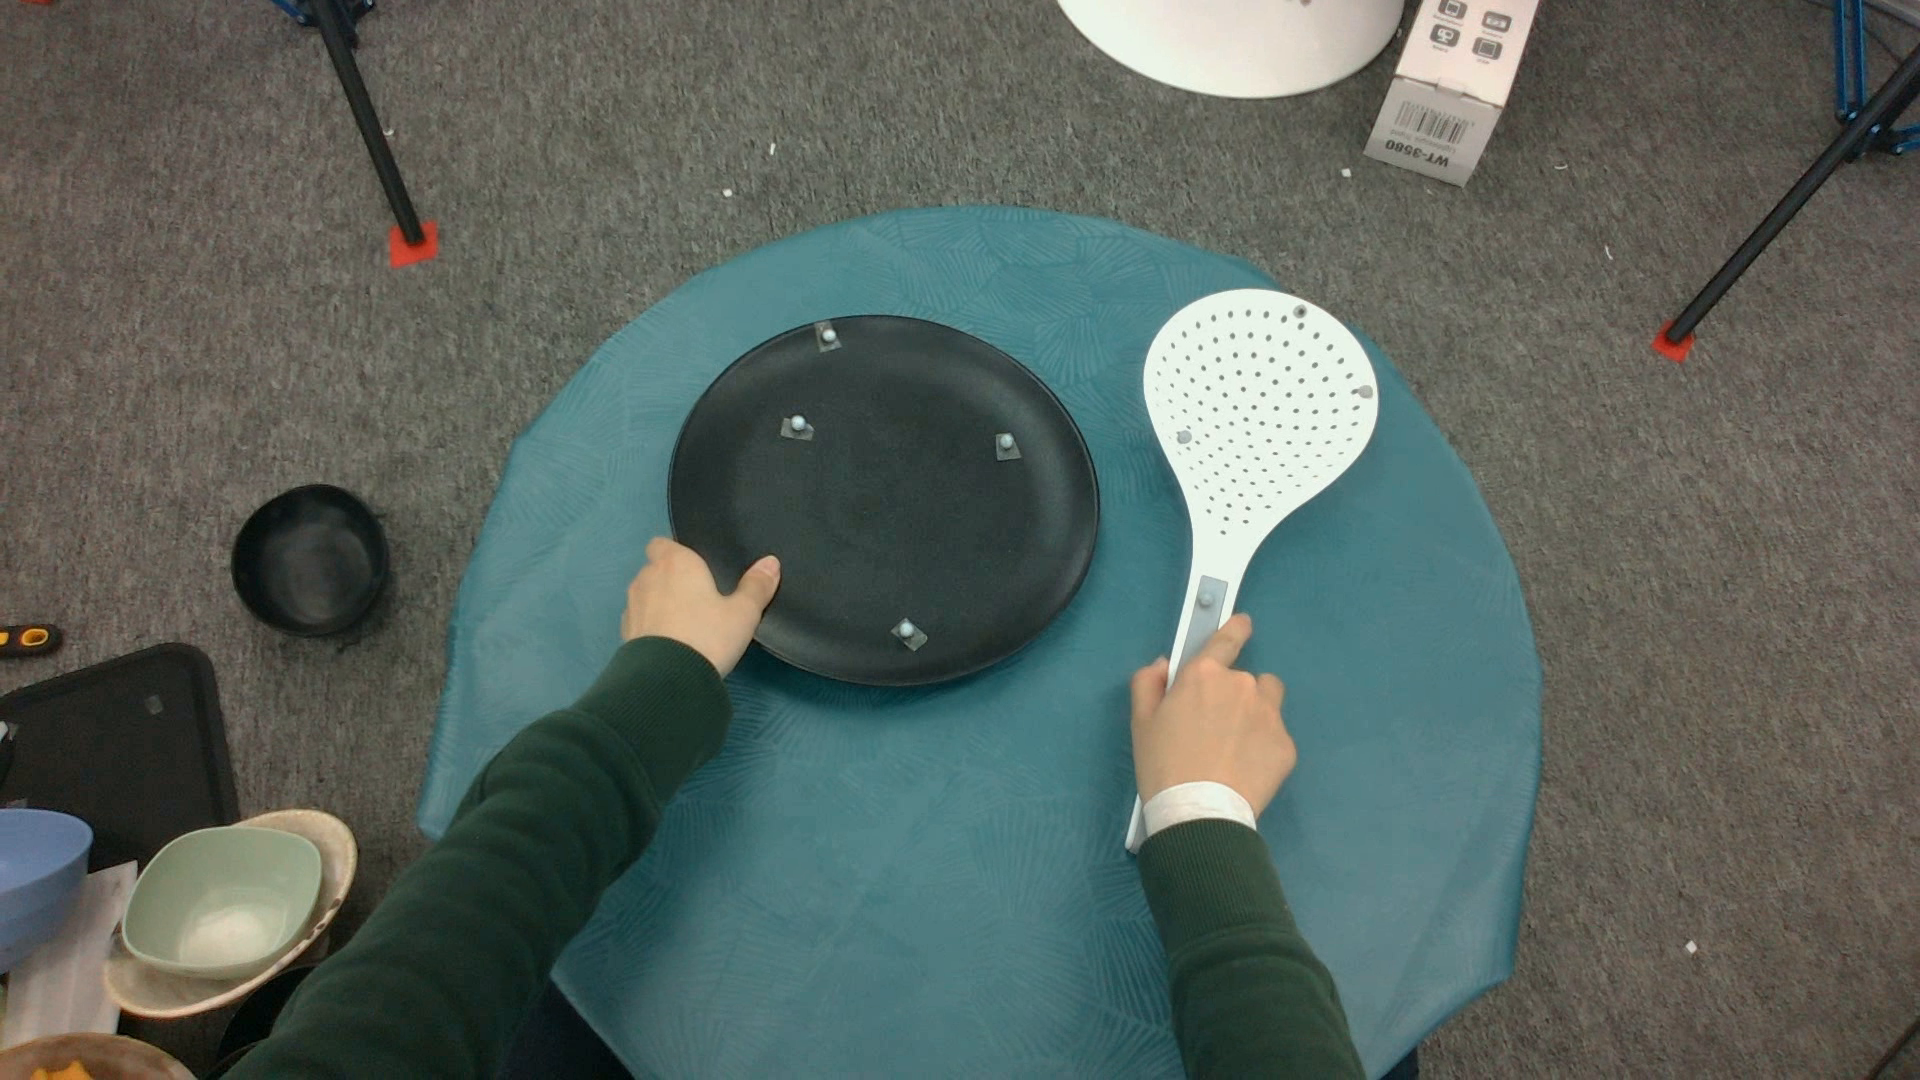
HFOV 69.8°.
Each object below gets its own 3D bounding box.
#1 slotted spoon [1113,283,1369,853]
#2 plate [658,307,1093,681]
[{"bbox_3d":[0.141,0.004,0.771,0.136,0.045,0.351,16,62,5],"label":"slotted spoon"},{"bbox_3d":[-0.046,-0.030,0.779,0.244,0.023,0.245,4,61,-7],"label":"plate"}]
